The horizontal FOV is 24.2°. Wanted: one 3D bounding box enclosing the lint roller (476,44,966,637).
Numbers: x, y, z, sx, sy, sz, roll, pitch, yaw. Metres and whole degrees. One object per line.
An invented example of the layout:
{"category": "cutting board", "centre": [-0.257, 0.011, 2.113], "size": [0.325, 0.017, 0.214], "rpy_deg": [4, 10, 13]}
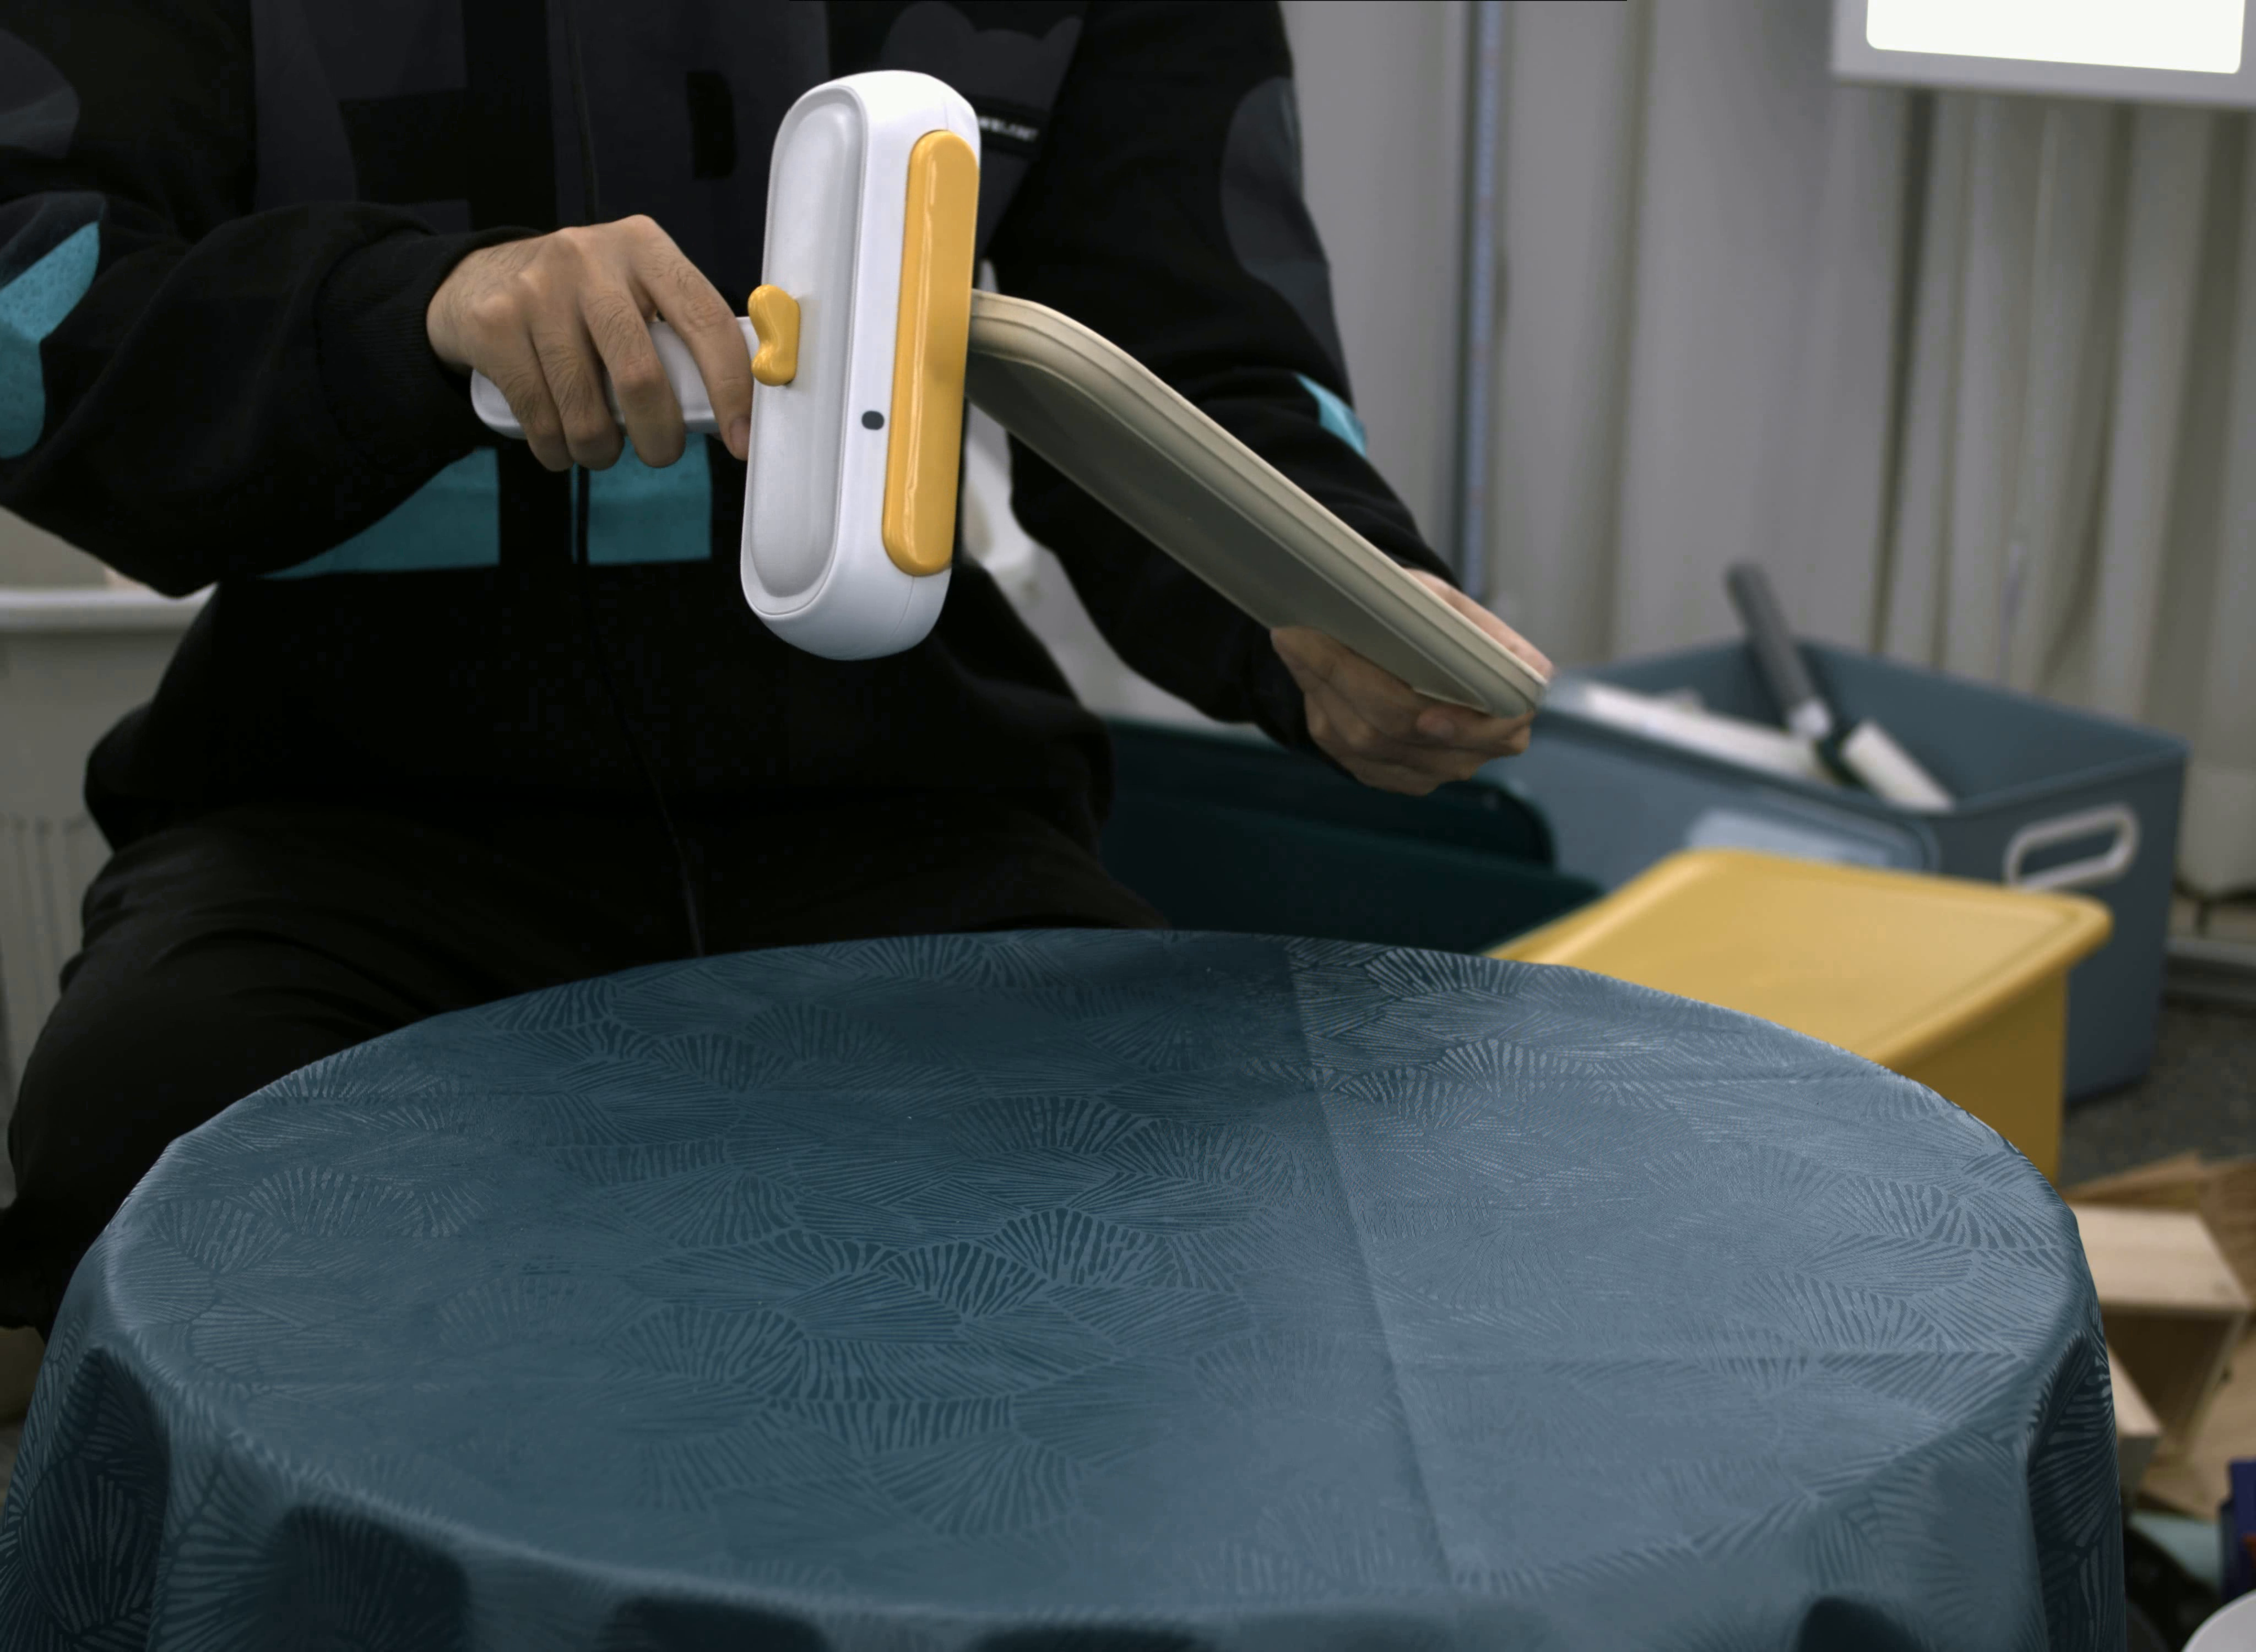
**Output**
{"category": "lint roller", "centre": [-0.133, -0.151, 1.732], "size": [0.190, 0.193, 0.075], "rpy_deg": [-8, -10, 42]}

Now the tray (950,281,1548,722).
{"category": "tray", "centre": [0.025, -0.108, 1.772], "size": [0.242, 0.017, 0.169], "rpy_deg": [37, -9, -29]}
